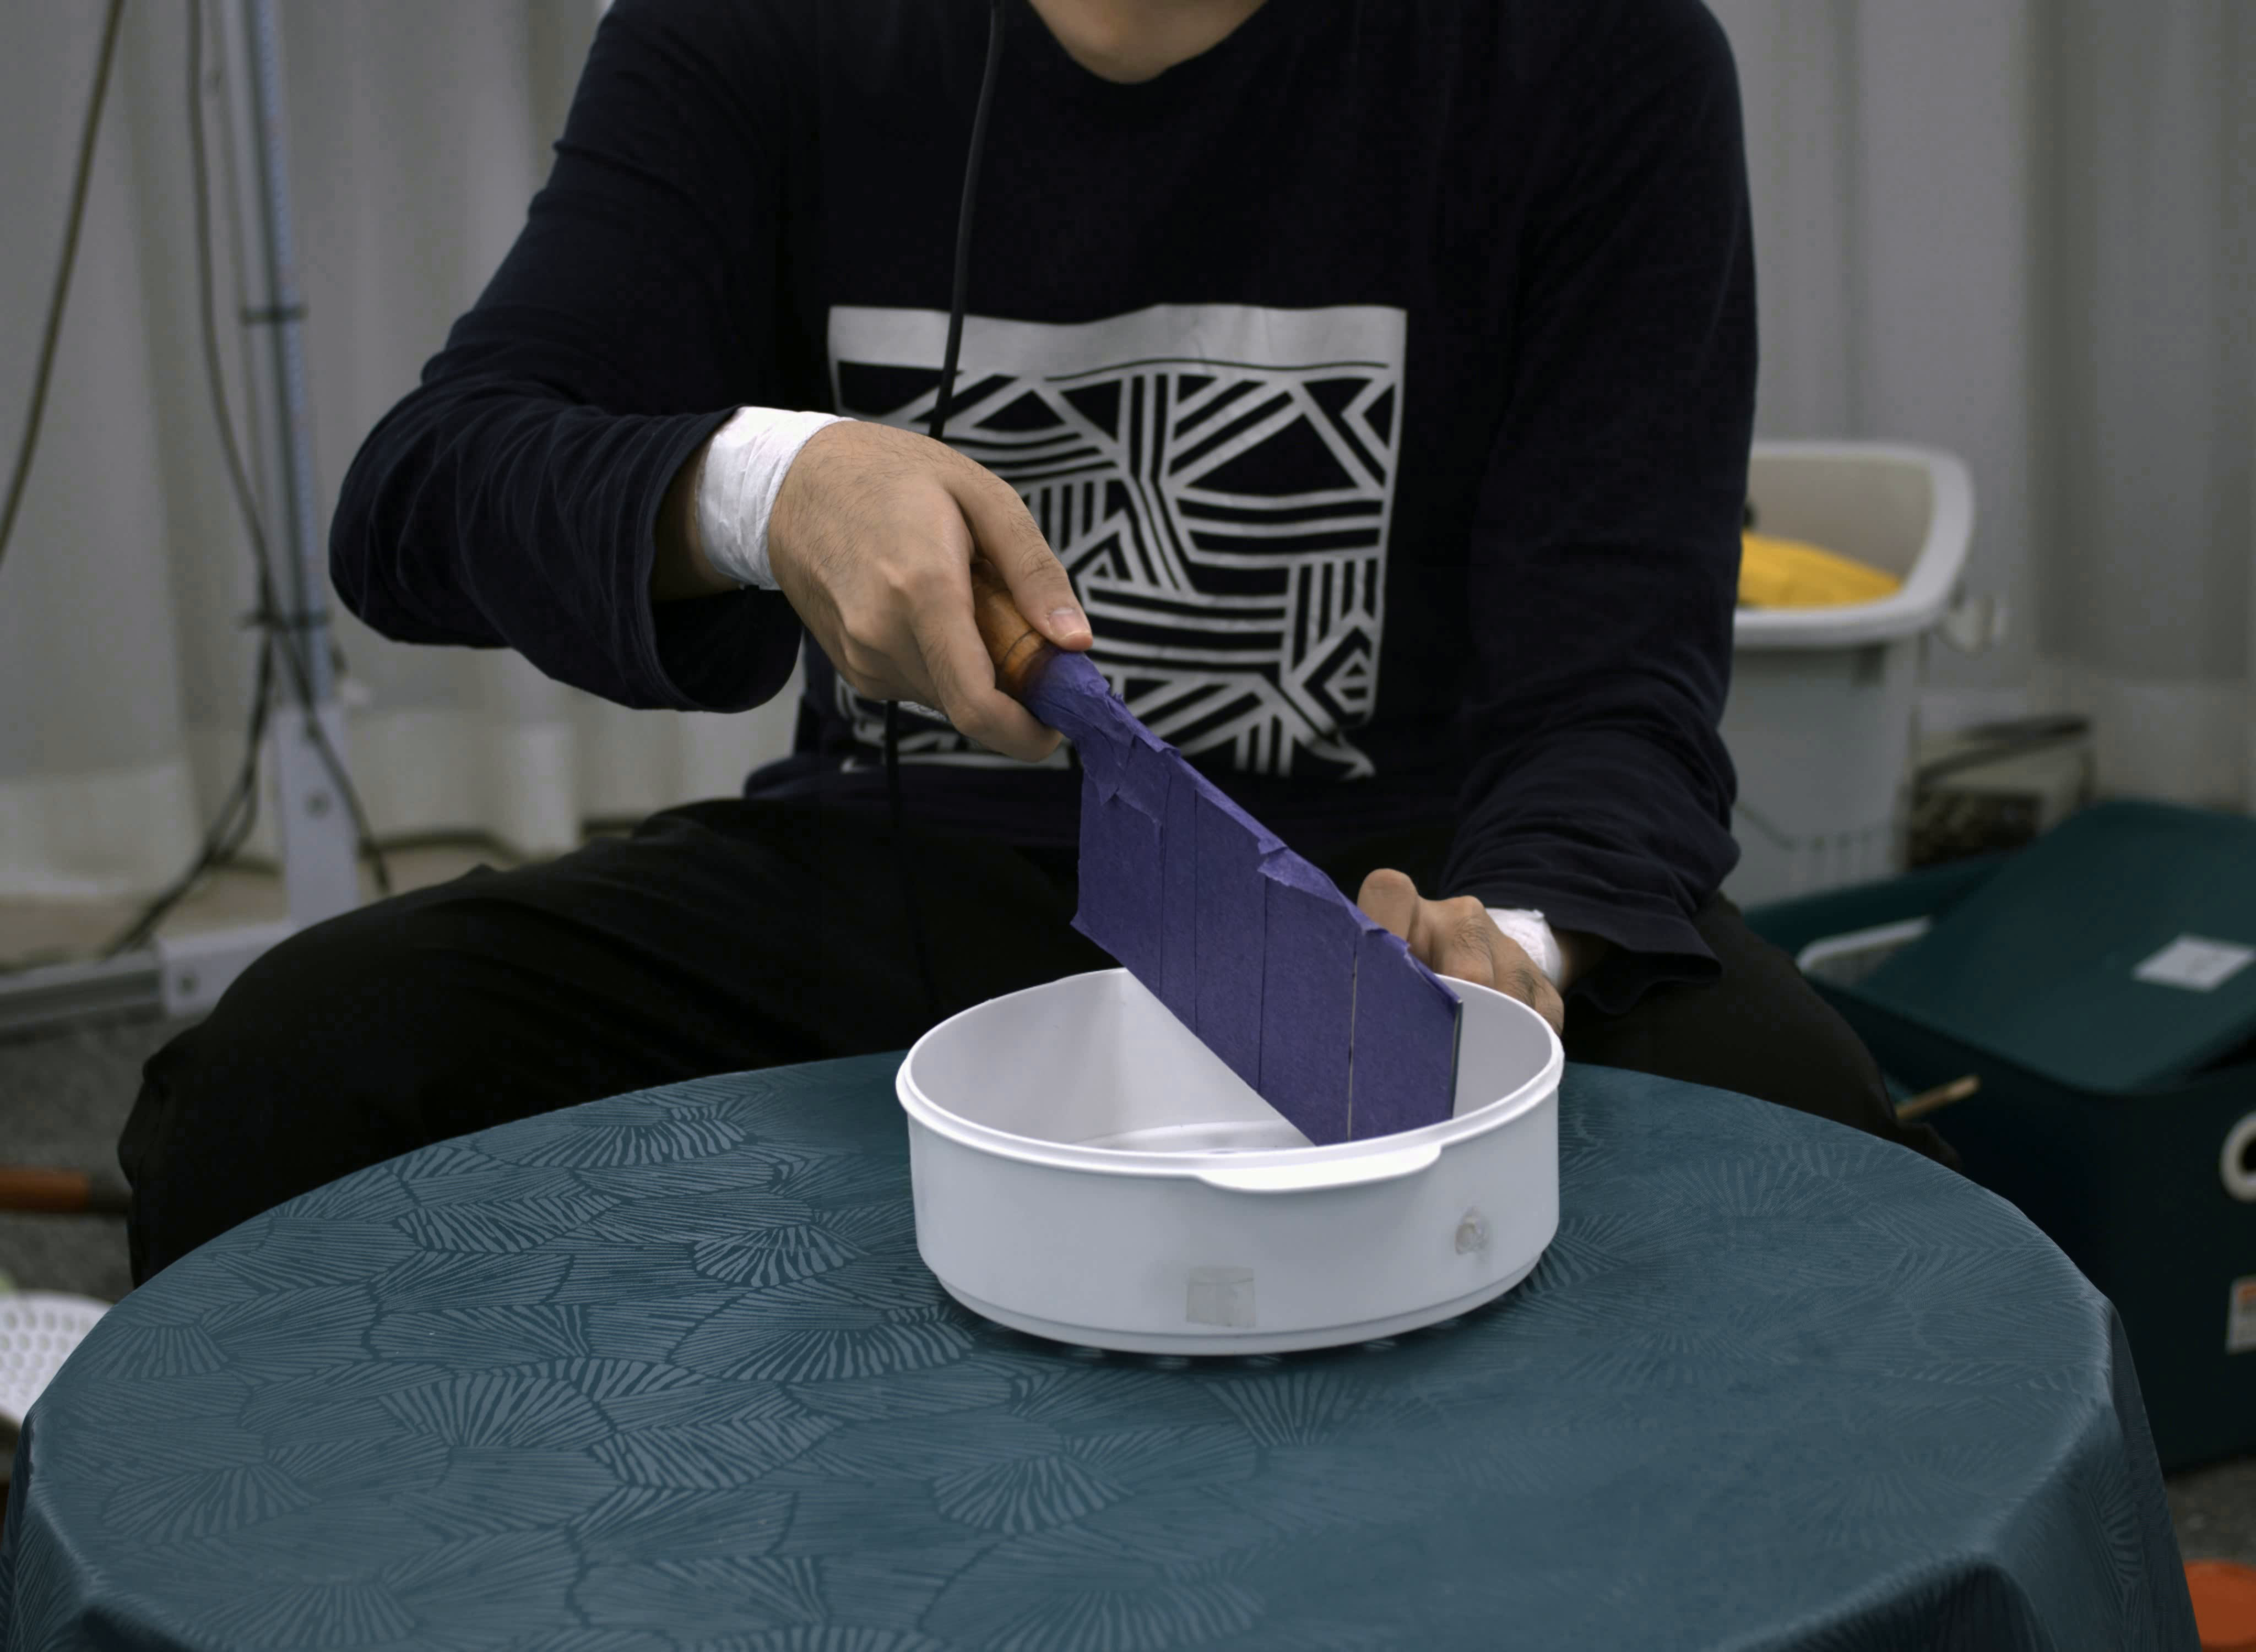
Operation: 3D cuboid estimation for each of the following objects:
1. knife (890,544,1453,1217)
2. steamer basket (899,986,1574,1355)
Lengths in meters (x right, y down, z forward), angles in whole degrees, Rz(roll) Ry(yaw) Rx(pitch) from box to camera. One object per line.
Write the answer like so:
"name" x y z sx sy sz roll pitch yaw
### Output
"knife" 0.009 0.016 1.670 0.032 0.103 0.319 -12 32 -26
"steamer basket" 0.033 0.101 1.634 0.201 0.069 0.232 -5 13 -13
